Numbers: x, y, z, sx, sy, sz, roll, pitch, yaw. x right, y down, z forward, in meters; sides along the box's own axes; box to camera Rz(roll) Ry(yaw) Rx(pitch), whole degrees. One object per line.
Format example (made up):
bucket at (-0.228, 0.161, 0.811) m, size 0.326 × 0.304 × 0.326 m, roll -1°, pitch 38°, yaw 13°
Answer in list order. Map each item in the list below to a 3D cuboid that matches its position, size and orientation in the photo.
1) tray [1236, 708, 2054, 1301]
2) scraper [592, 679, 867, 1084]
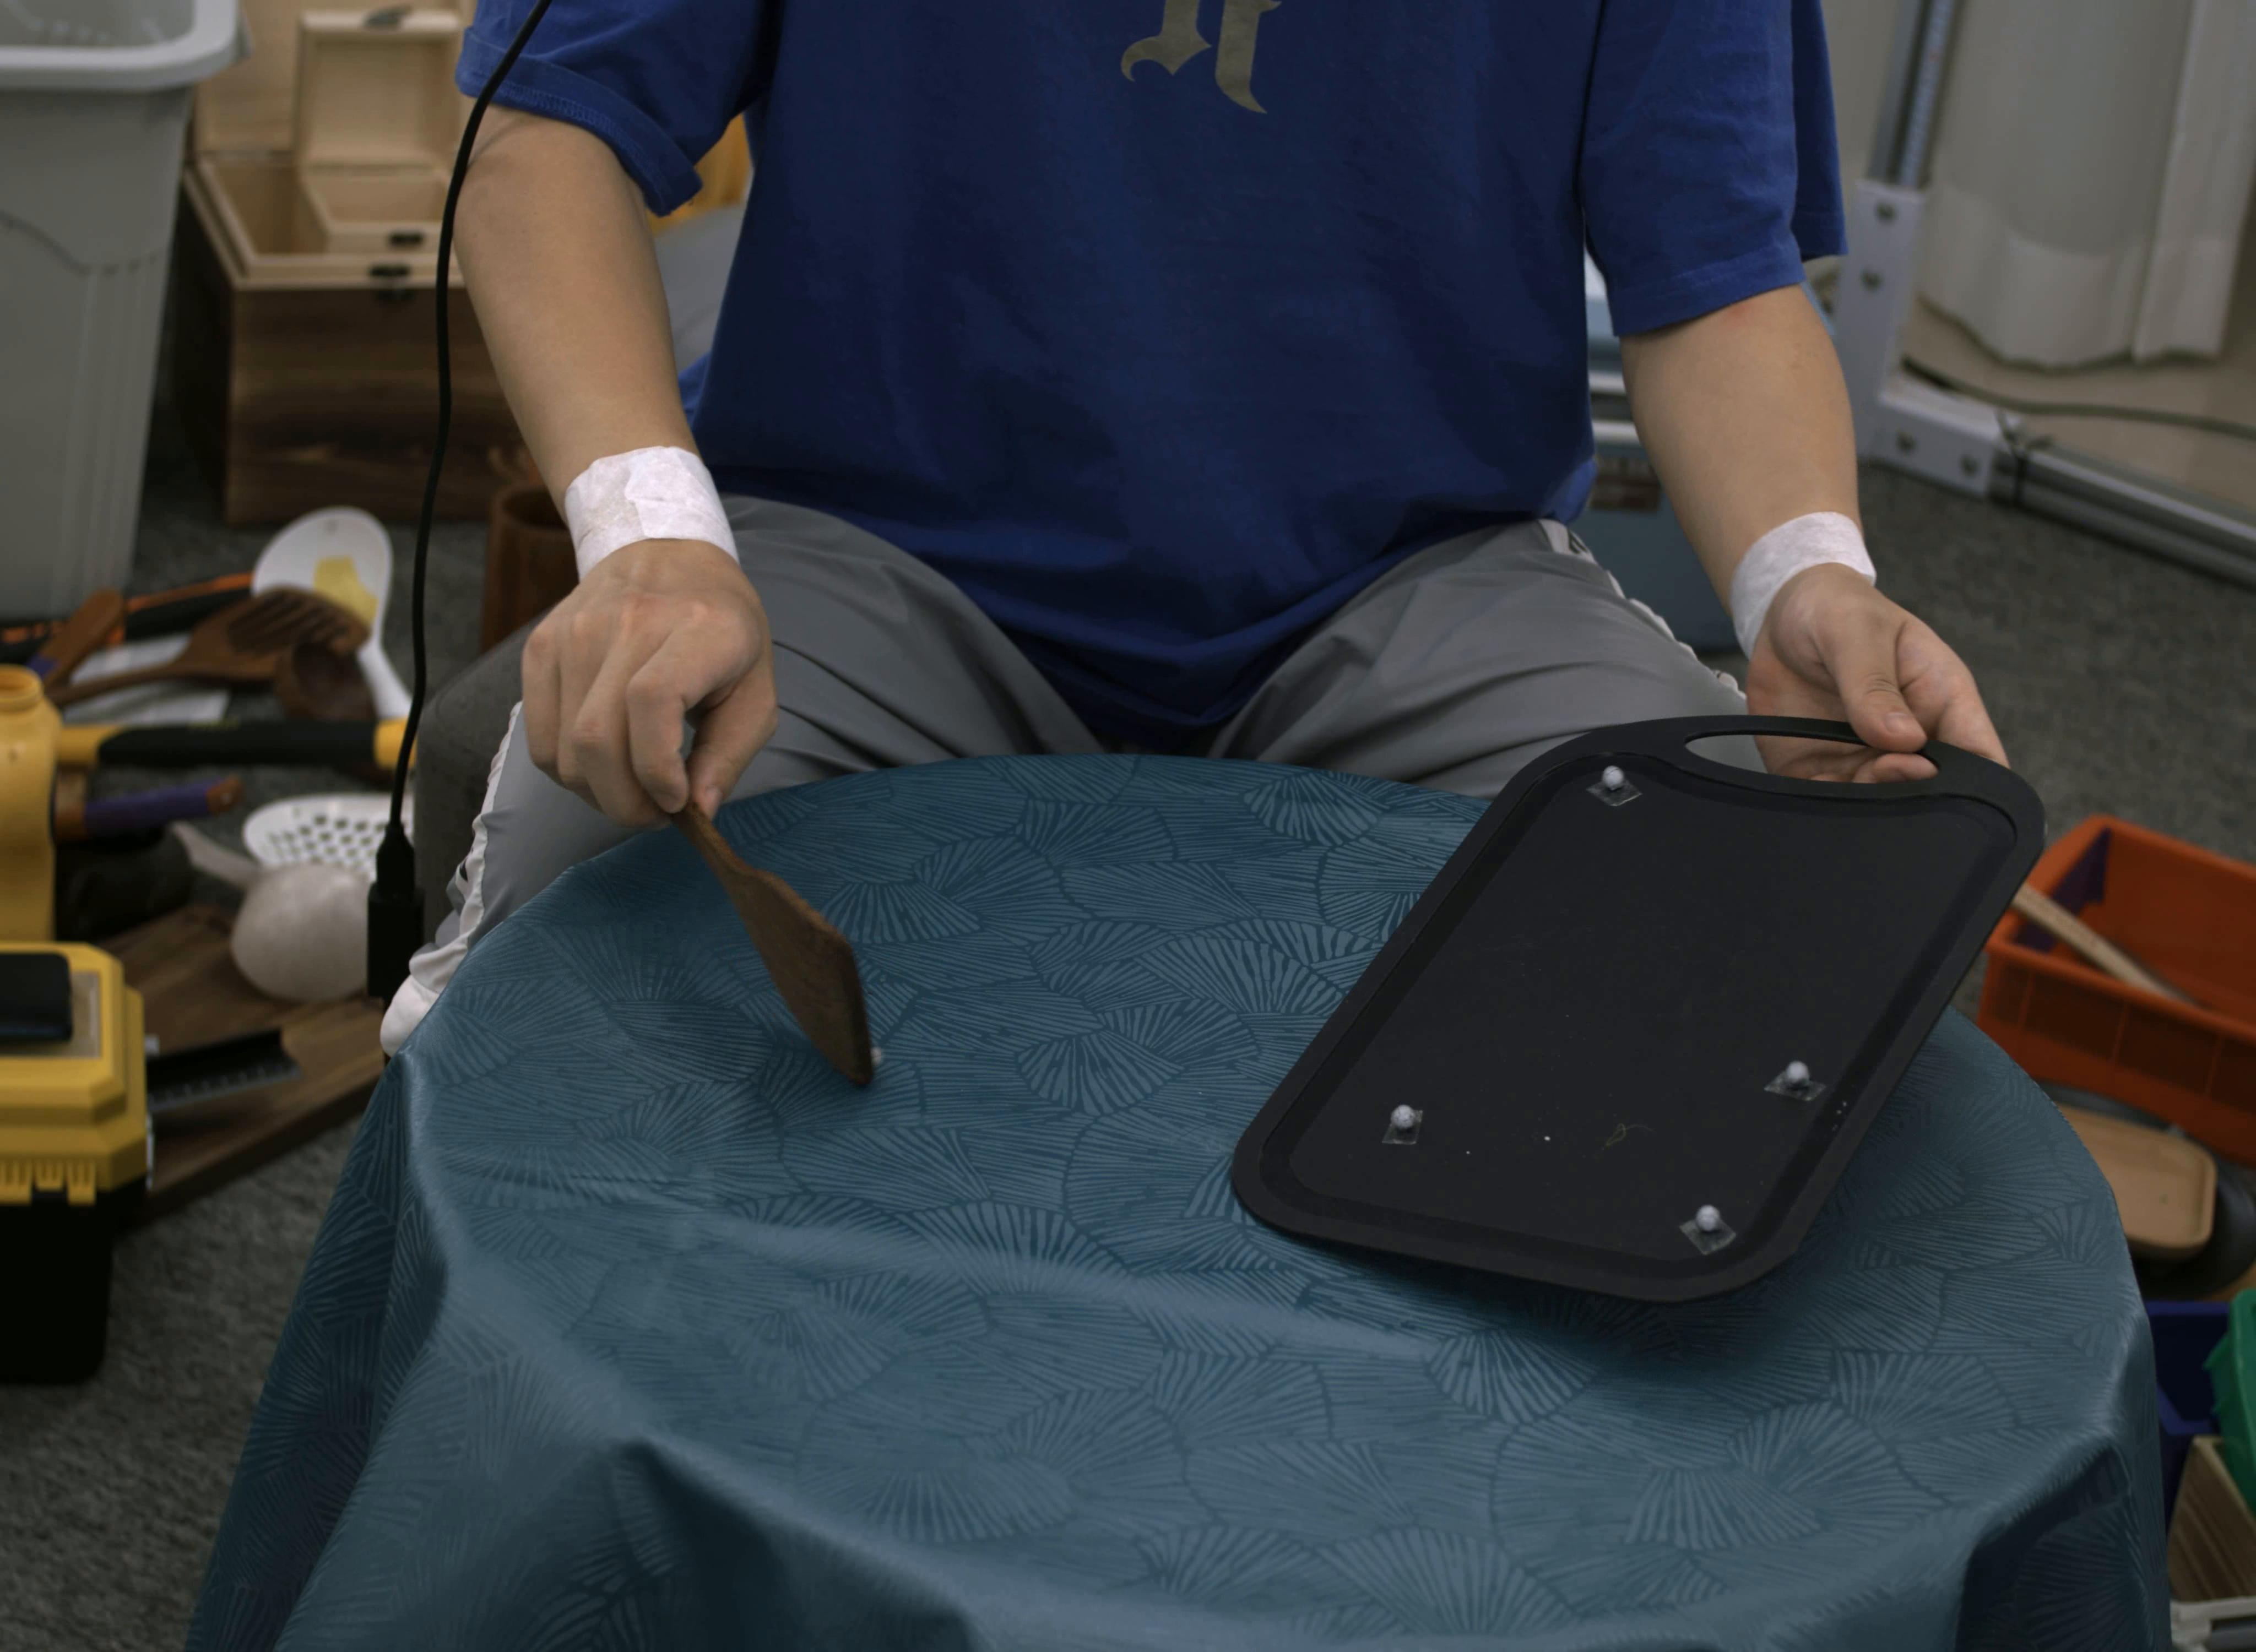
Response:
tray at (0.186, 0.051, 1.862) m, size 0.212 × 0.010 × 0.326 m, roll 9°, pitch 40°, yaw 30°
scraper at (-0.146, 0.011, 1.890) m, size 0.011 × 0.075 × 0.213 m, roll -25°, pitch 44°, yaw -15°
